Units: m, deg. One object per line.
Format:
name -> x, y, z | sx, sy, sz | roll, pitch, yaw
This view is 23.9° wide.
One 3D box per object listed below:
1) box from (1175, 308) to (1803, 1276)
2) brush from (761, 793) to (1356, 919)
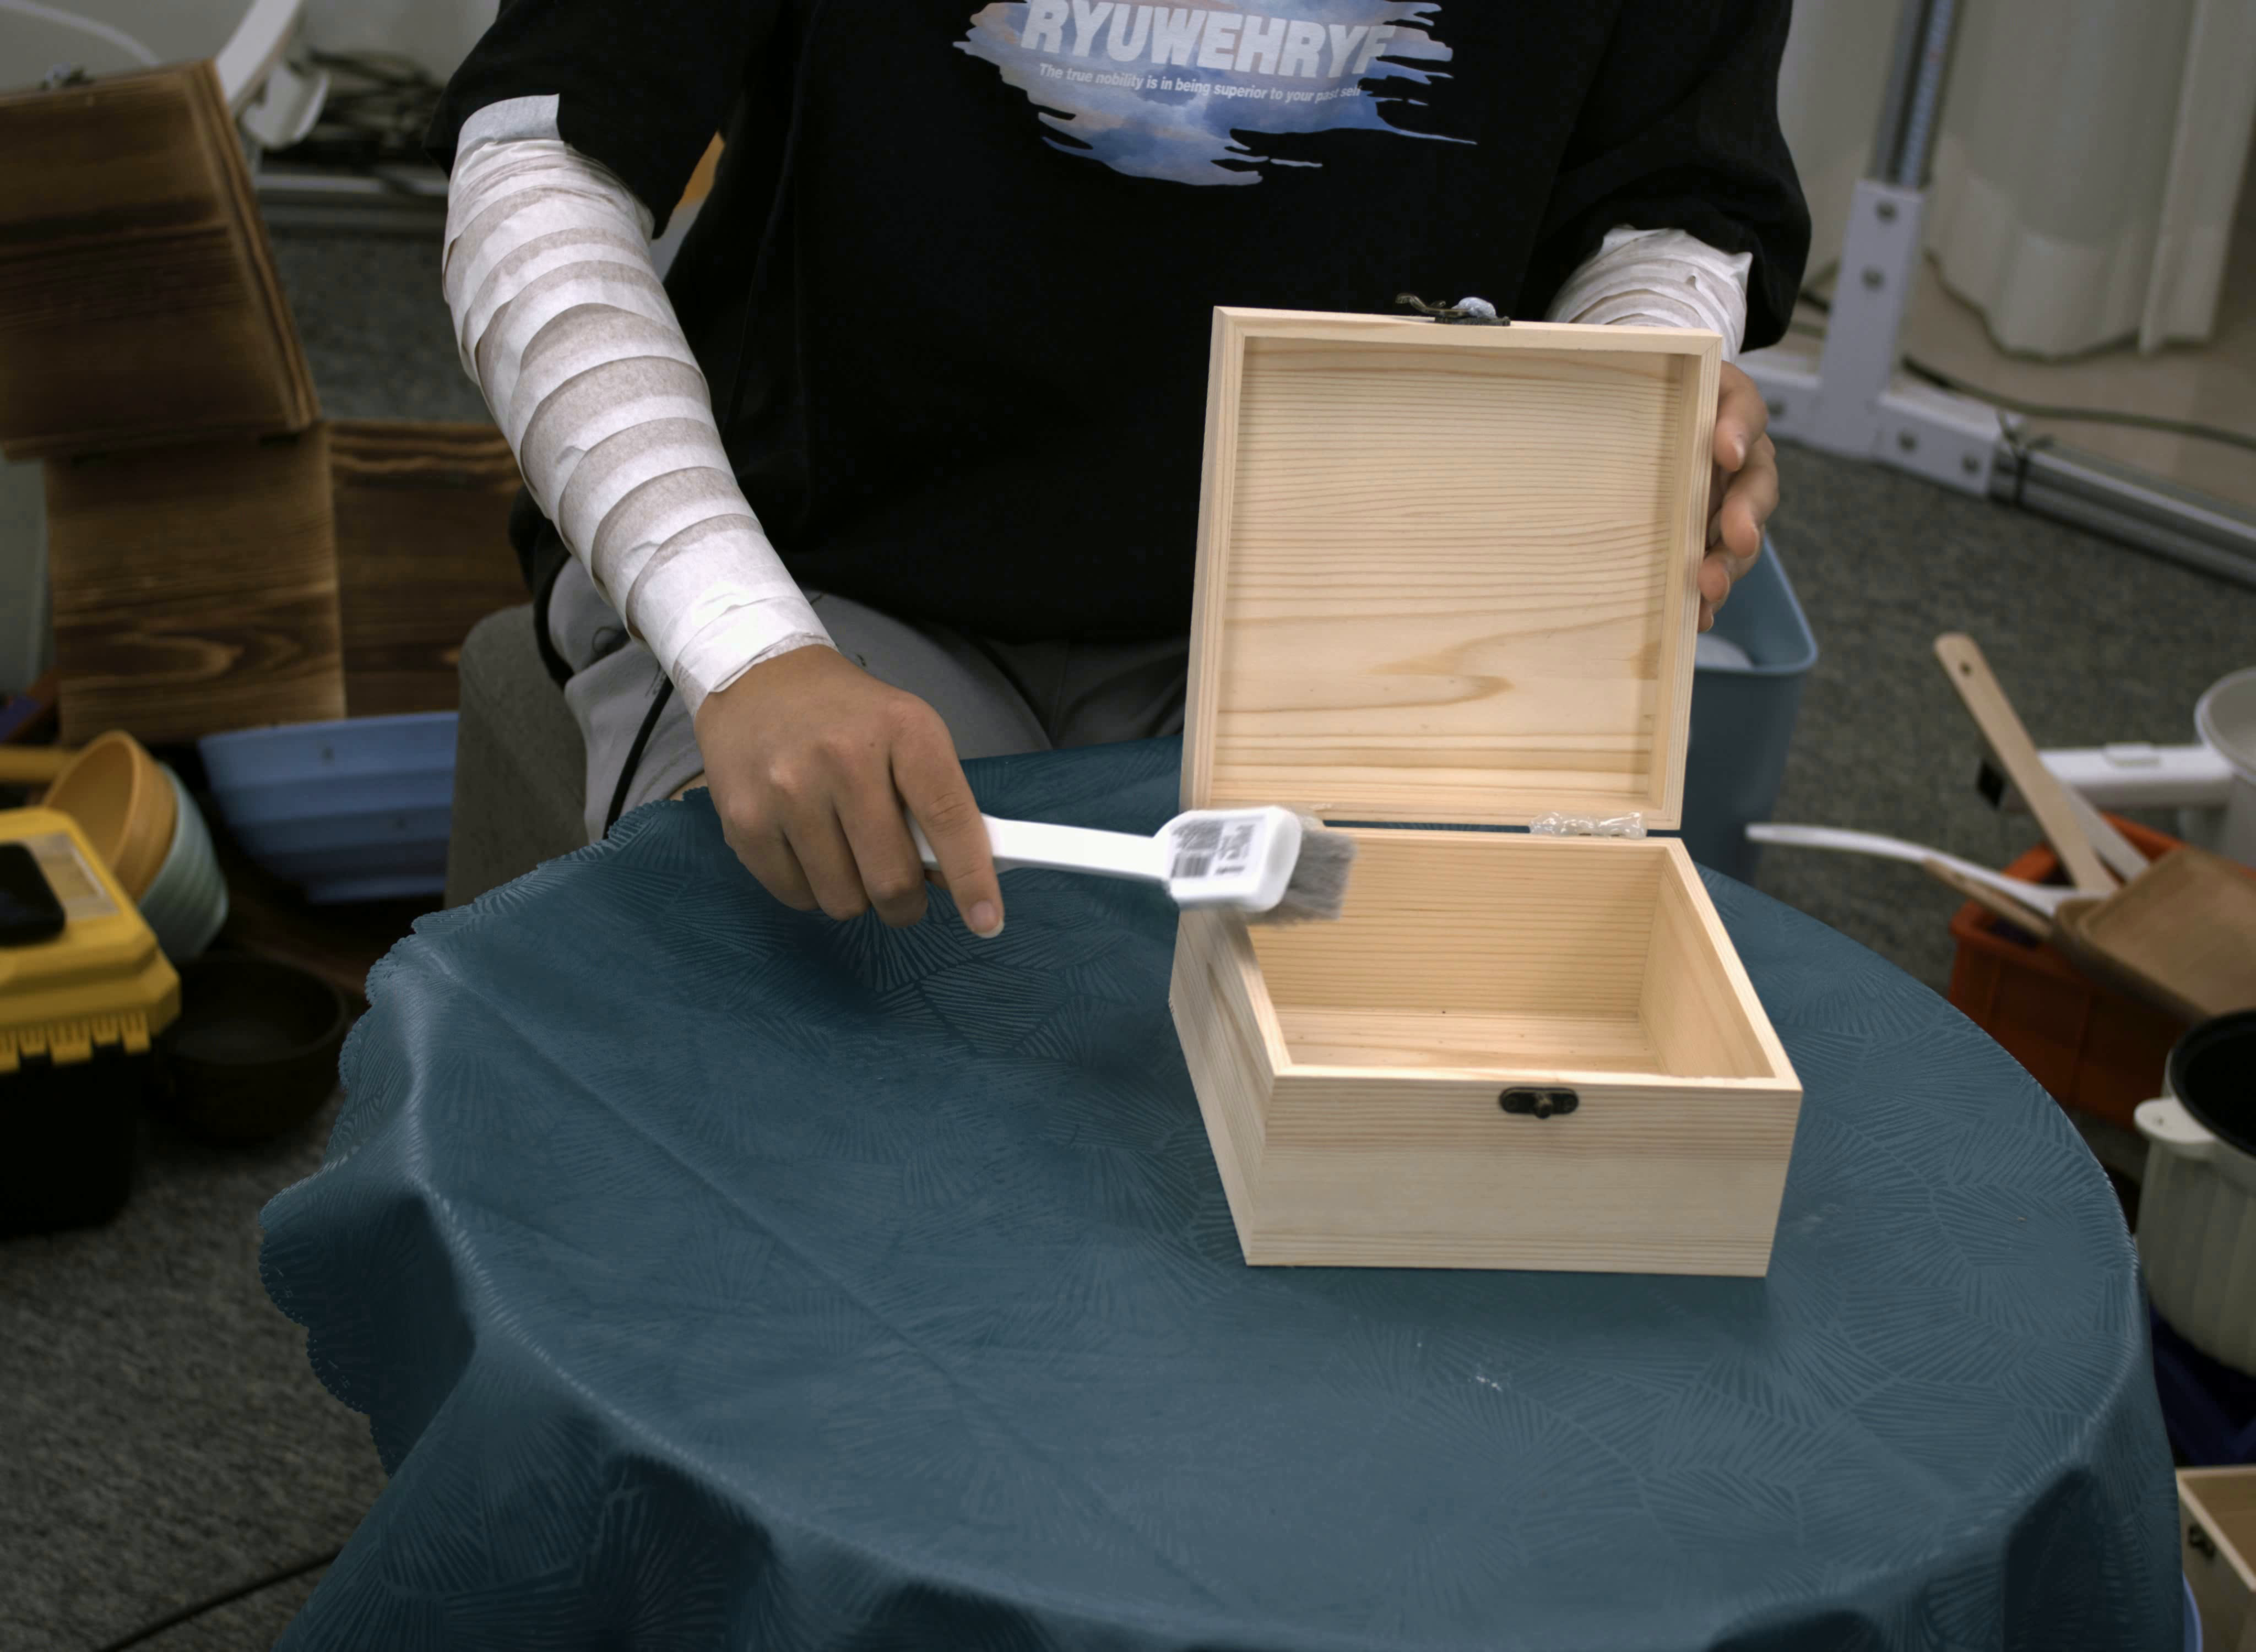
box -> 0.123, -0.017, 1.836 | 0.181, 0.252, 0.267 | 0, 27, -9
brush -> -0.025, 0.011, 1.866 | 0.245, 0.034, 0.050 | -1, -20, 38
